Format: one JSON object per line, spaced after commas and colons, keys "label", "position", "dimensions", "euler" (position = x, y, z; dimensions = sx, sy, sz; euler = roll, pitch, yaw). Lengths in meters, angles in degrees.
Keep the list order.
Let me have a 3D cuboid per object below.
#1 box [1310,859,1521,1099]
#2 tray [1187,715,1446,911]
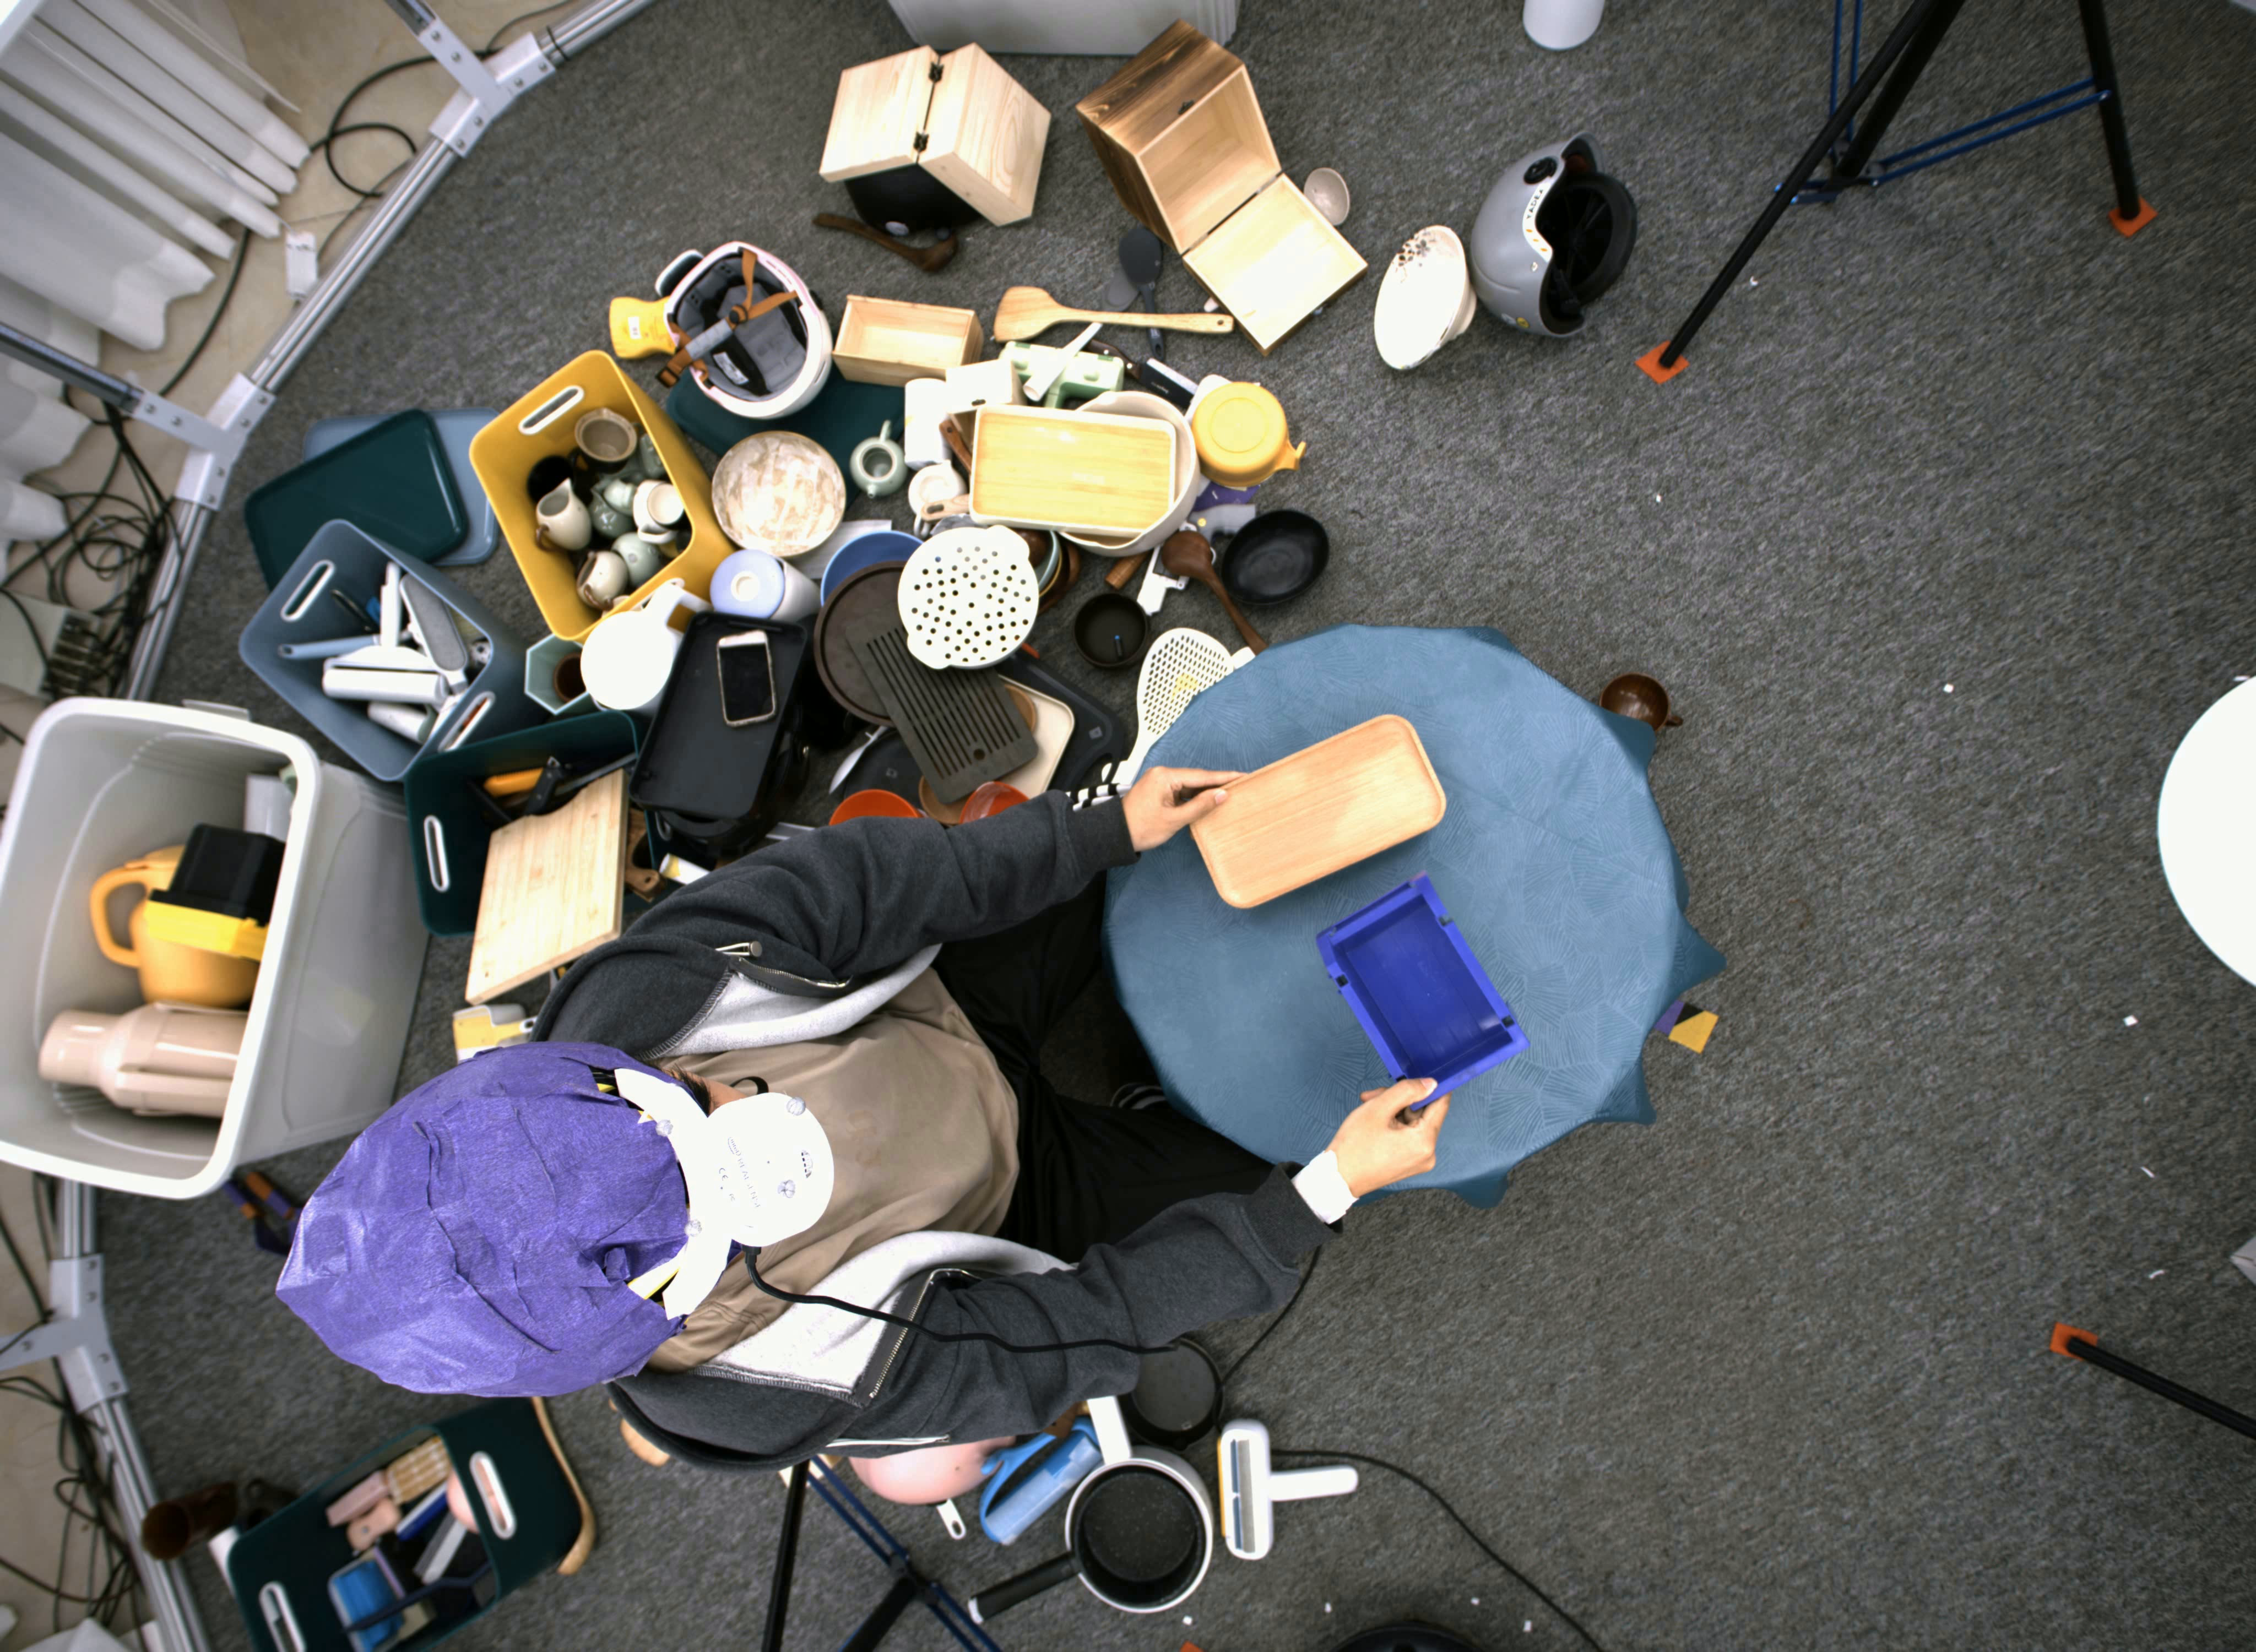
{"label": "box", "position": [0.259, 0.137, 1.267], "dimensions": [0.126, 0.081, 0.179], "euler": [-31, 86, 14]}
{"label": "tray", "position": [0.191, -0.014, 1.407], "dimensions": [0.252, 0.023, 0.130], "euler": [-24, 84, 6]}
